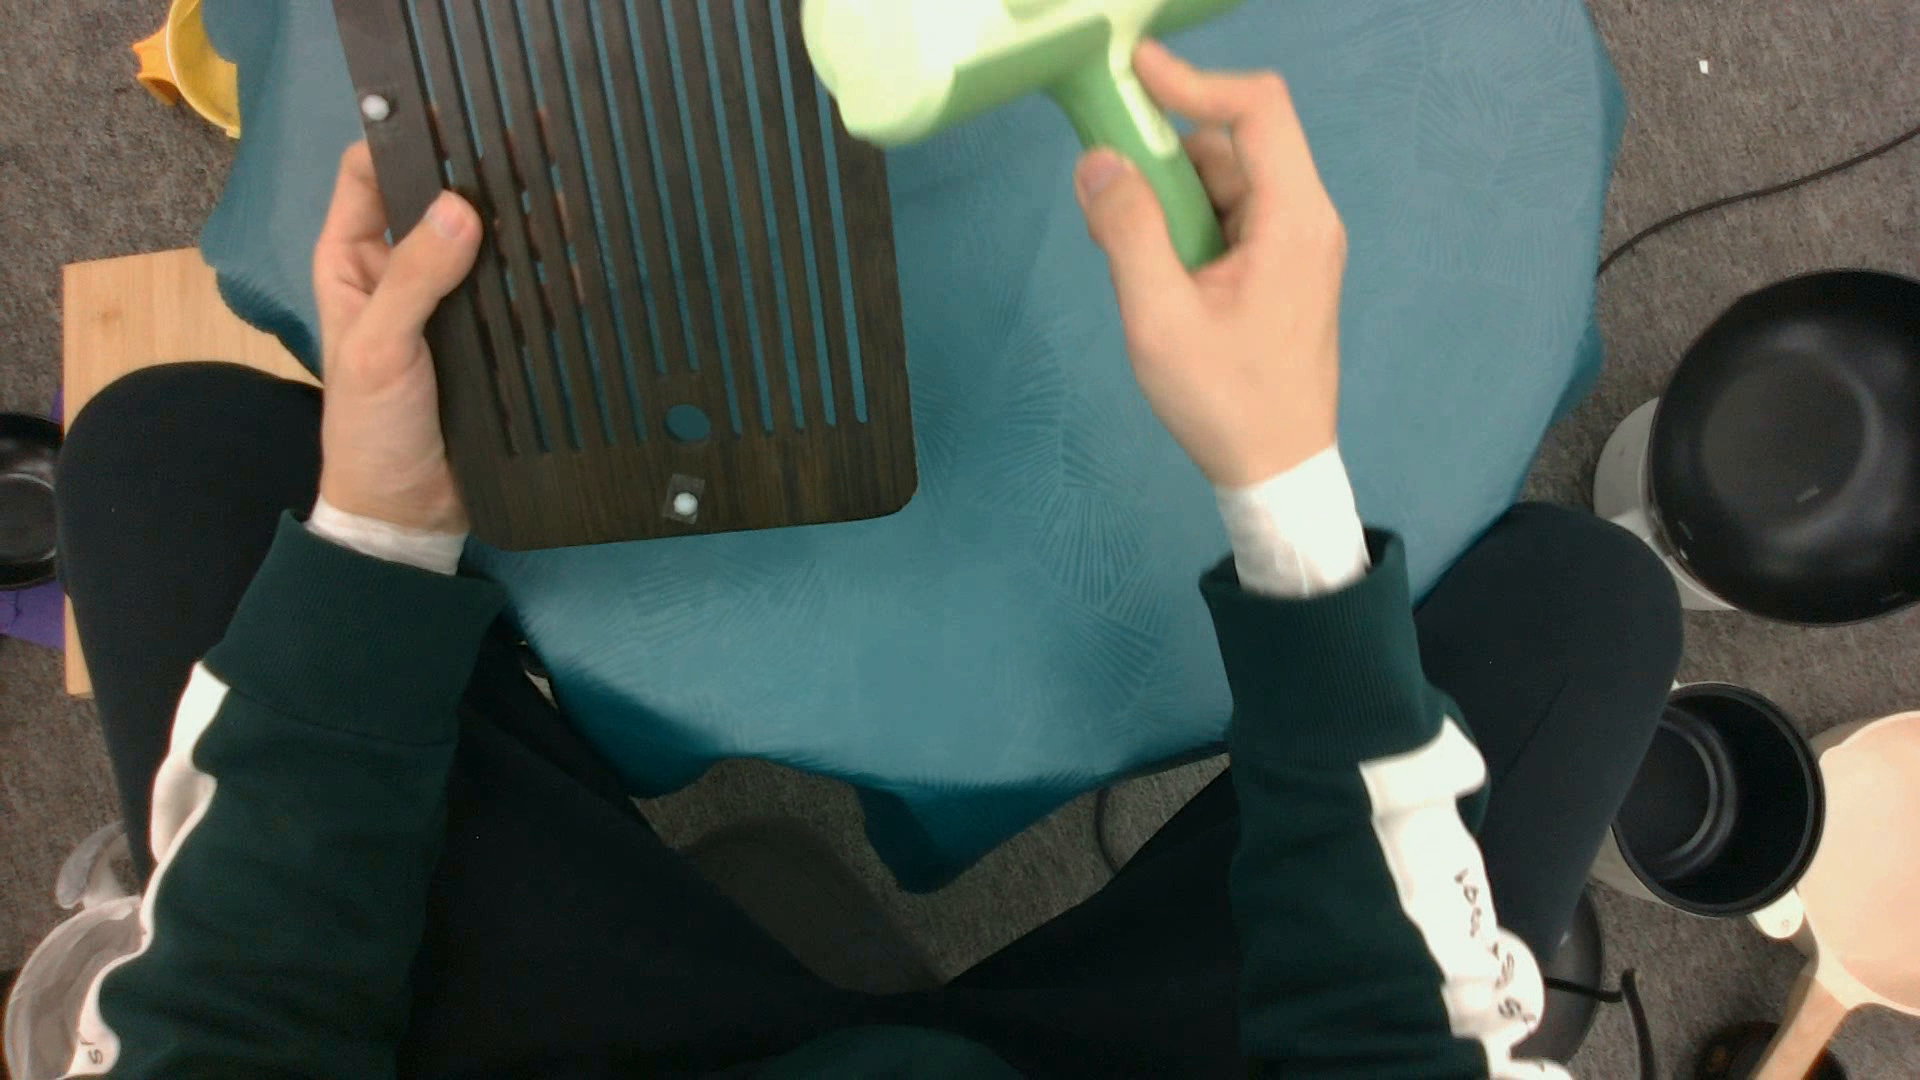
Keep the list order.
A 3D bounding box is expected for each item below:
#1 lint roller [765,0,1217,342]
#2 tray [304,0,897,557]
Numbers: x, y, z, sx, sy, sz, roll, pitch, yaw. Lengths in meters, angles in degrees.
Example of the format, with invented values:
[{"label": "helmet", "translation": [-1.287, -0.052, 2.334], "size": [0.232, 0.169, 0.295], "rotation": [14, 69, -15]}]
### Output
[{"label": "lint roller", "translation": [0.050, -0.153, 0.432], "size": [0.199, 0.082, 0.183], "rotation": [-39, 99, -42]}, {"label": "tray", "translation": [-0.121, -0.142, 0.466], "size": [0.170, 0.018, 0.305], "rotation": [-7, 114, -2]}]
